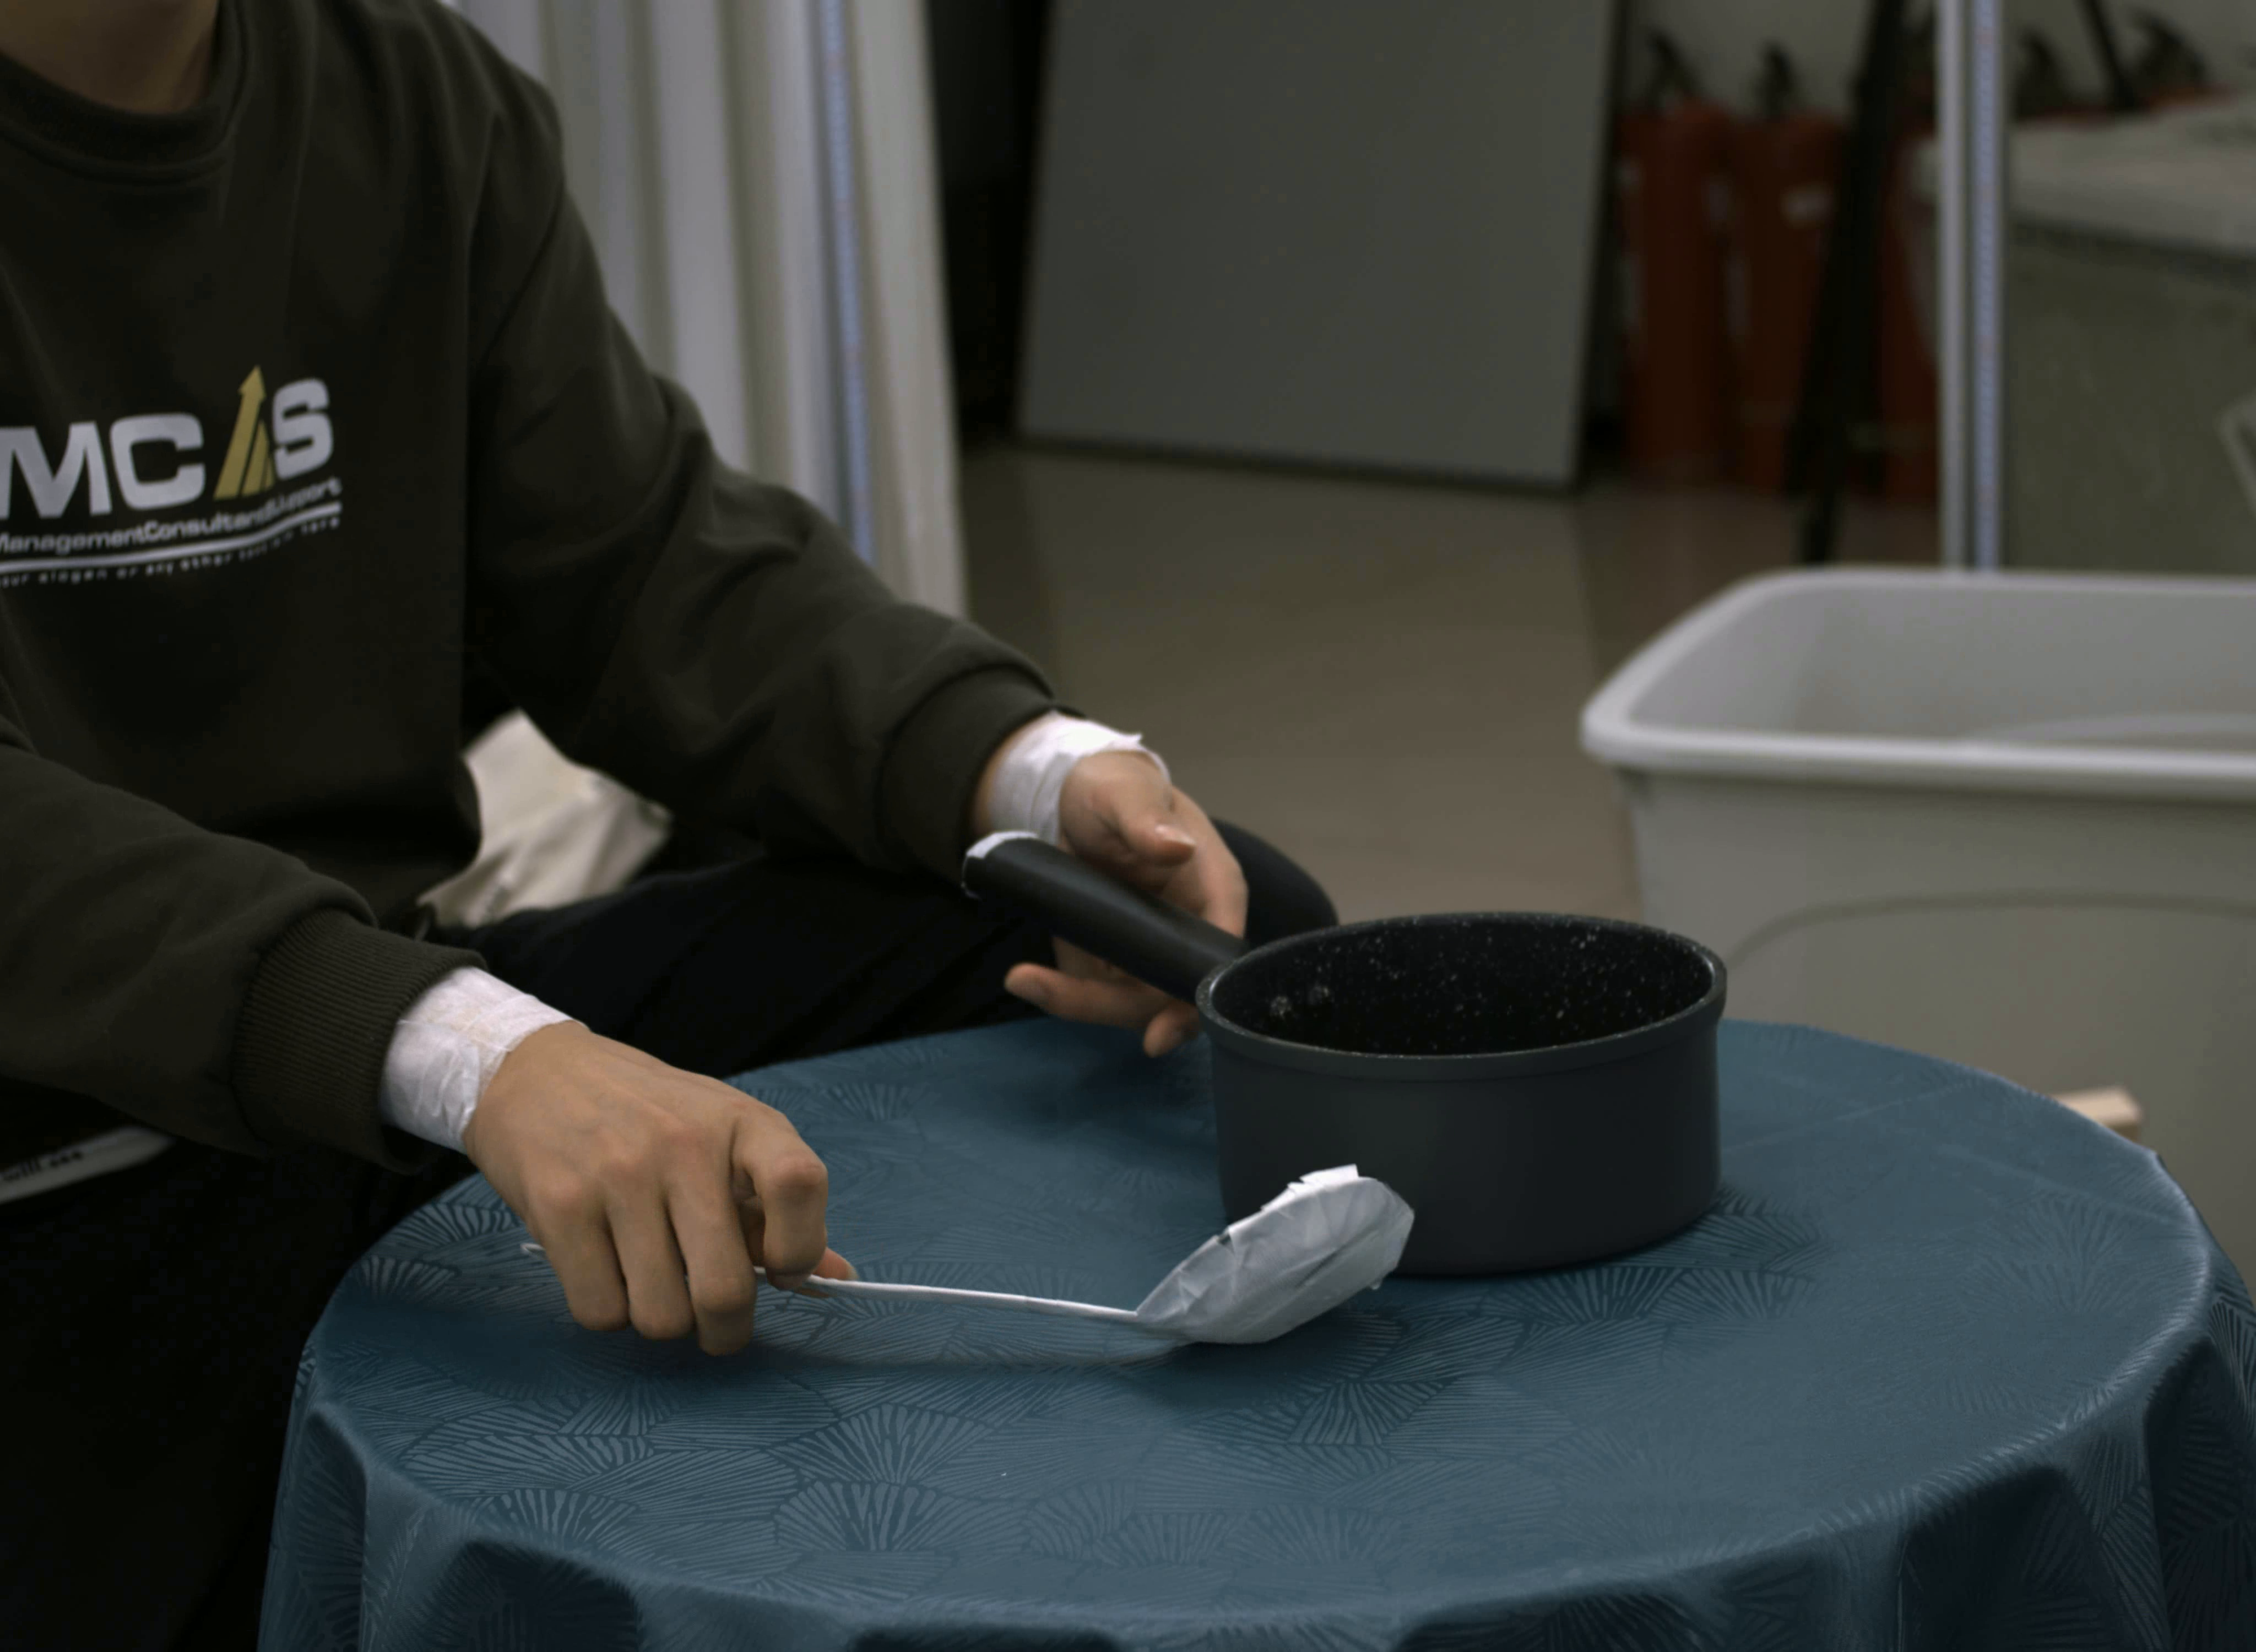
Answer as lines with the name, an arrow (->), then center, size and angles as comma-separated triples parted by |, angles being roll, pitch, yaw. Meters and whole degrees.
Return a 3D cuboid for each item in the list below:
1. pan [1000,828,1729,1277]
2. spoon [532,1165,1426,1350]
pan -> 0.062, 0.070, 1.791 | 0.168, 0.087, 0.332 | -12, 16, -34
spoon -> -0.046, 0.122, 1.634 | 0.276, 0.060, 0.100 | 5, -18, 17
